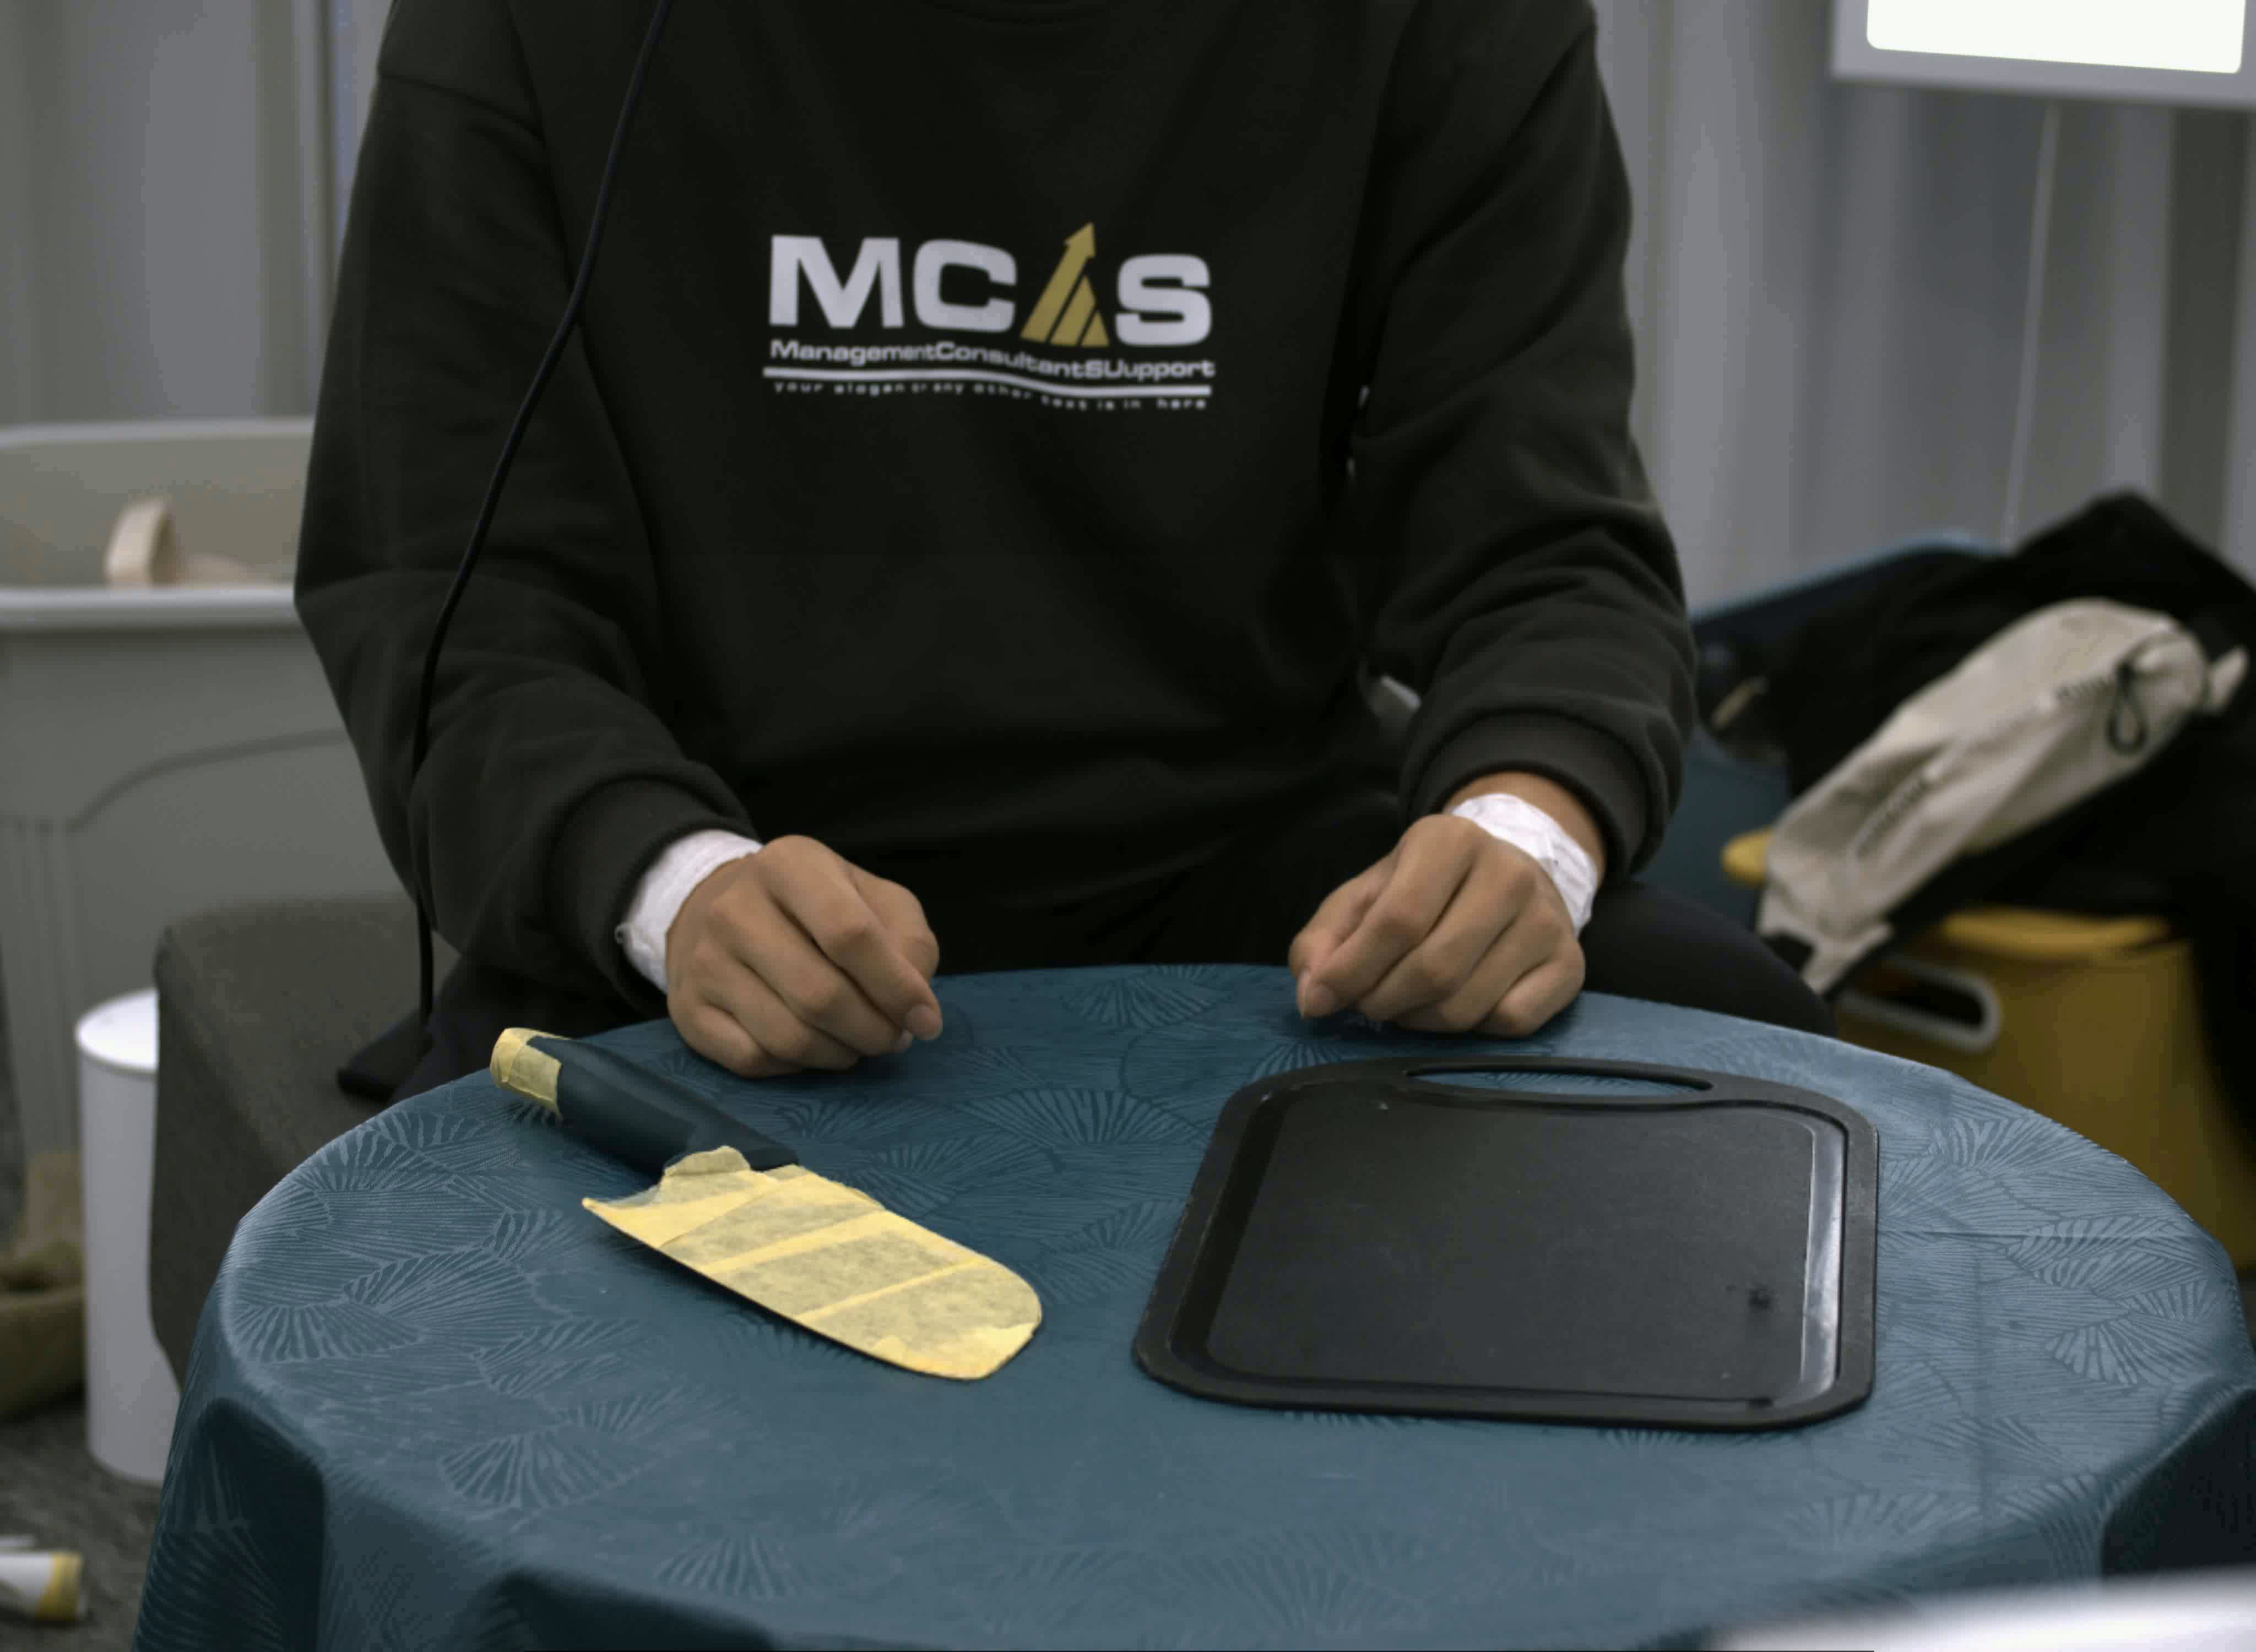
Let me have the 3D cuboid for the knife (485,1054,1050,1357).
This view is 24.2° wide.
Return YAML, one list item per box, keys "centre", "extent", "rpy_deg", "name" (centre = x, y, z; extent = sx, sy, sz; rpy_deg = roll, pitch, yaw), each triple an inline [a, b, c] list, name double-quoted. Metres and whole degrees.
- centre: [-0.121, 0.115, 1.584]
  extent: [0.081, 0.027, 0.285]
  rpy_deg: [-10, 19, -37]
  name: "knife"

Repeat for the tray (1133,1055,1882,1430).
- centre: [0.121, 0.118, 1.595]
  extent: [0.210, 0.010, 0.324]
  rpy_deg: [3, 15, 8]
  name: "tray"
